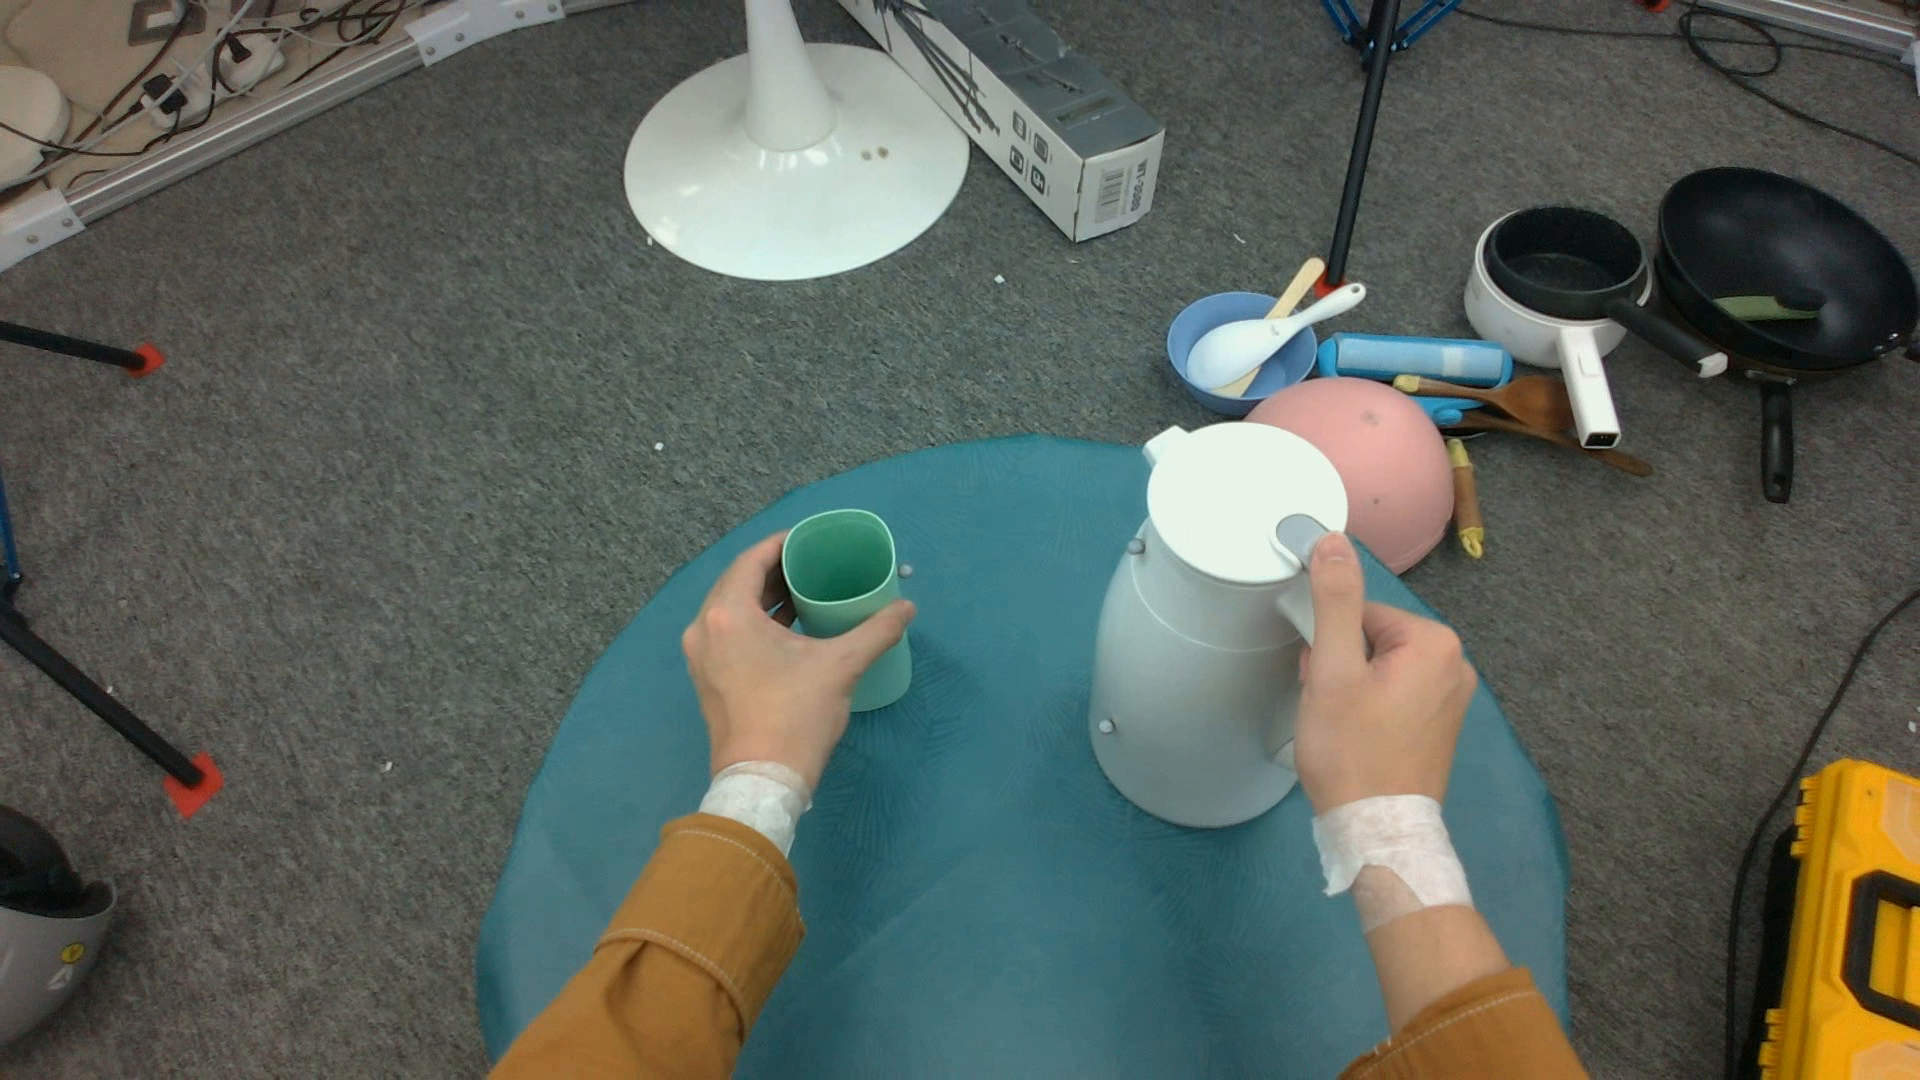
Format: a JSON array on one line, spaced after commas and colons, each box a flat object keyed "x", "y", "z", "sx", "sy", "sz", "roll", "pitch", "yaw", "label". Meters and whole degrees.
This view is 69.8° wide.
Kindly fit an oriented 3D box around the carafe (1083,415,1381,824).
[{"x": 0.147, "y": 0.054, "z": 0.724, "sx": 0.133, "sy": 0.247, "sz": 0.168, "roll": -32, "pitch": 61, "yaw": -18, "label": "carafe"}]

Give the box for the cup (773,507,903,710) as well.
[{"x": -0.069, "y": 0.044, "z": 0.814, "sx": 0.067, "sy": 0.132, "sz": 0.067, "roll": -2, "pitch": 55, "yaw": 2, "label": "cup"}]
